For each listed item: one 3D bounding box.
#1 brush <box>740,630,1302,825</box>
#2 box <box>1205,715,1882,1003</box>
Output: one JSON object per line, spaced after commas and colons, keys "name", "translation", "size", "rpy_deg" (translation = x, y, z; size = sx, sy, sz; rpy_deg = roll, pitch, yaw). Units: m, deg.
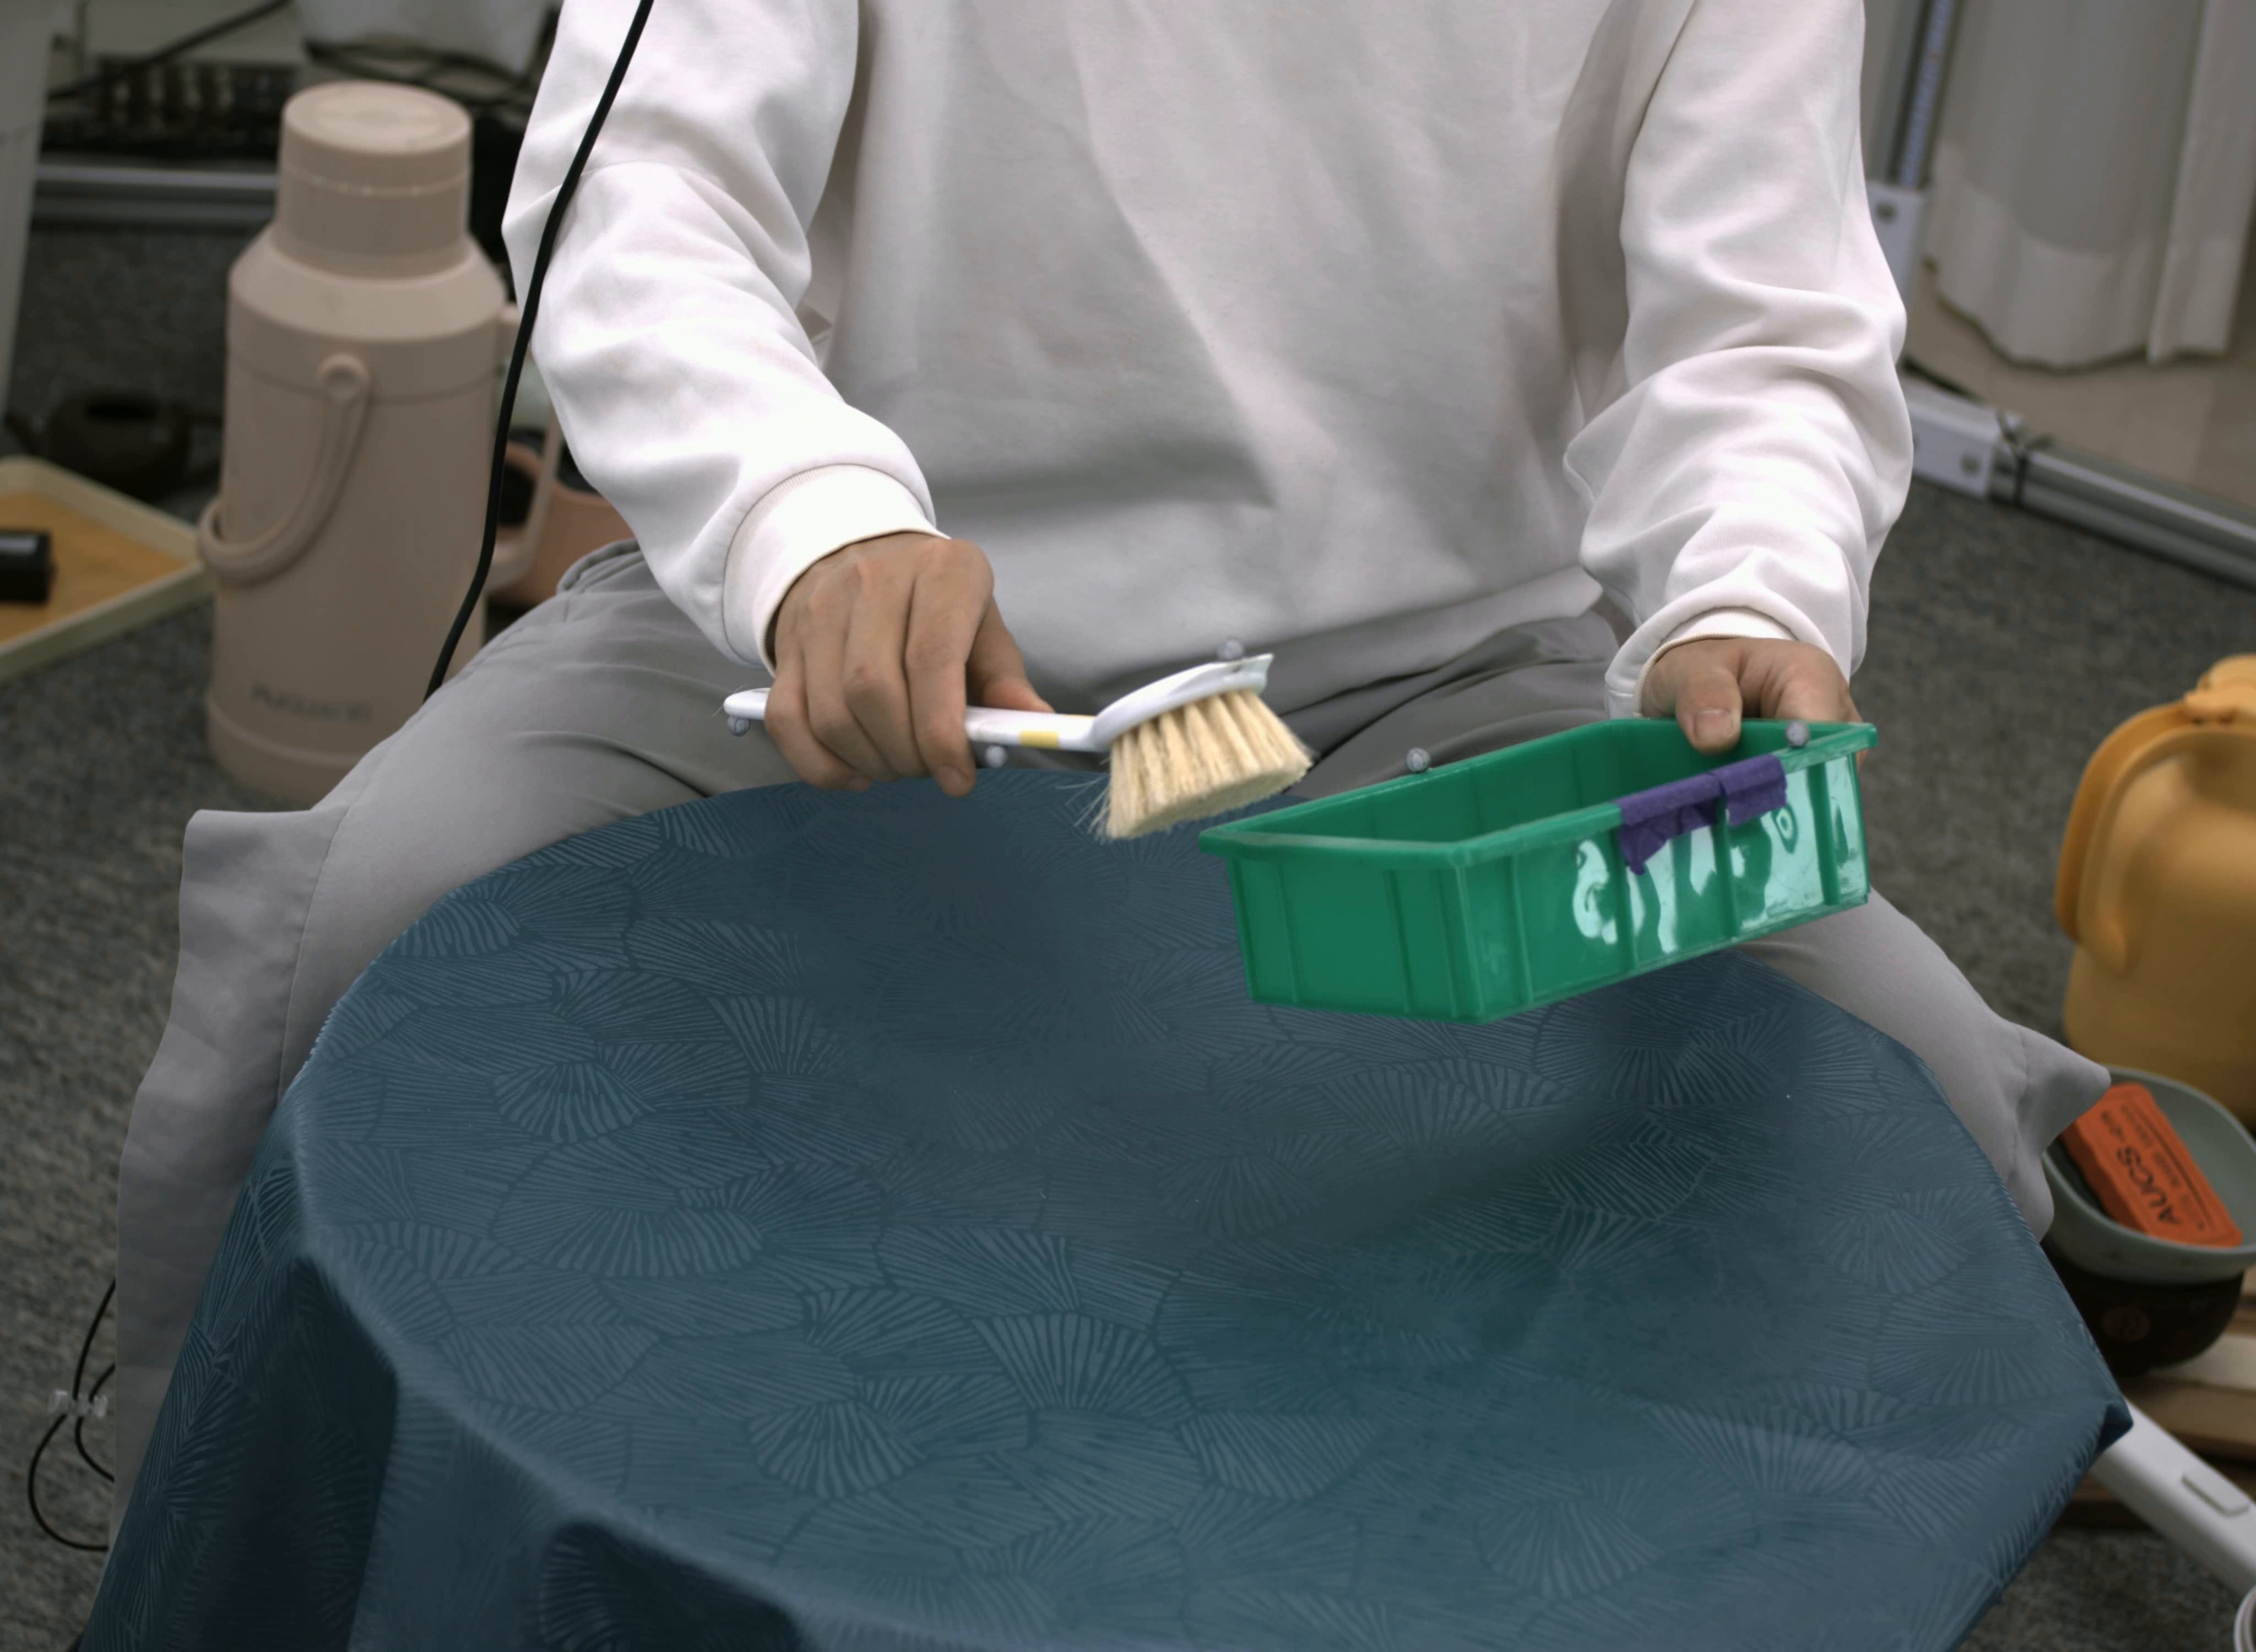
{"name": "brush", "translation": [-0.043, -0.020, 1.797], "size": [0.068, 0.056, 0.267], "rpy_deg": [5, -10, -41]}
{"name": "box", "translation": [0.143, 0.010, 1.791], "size": [0.209, 0.065, 0.139], "rpy_deg": [-13, 10, -37]}
